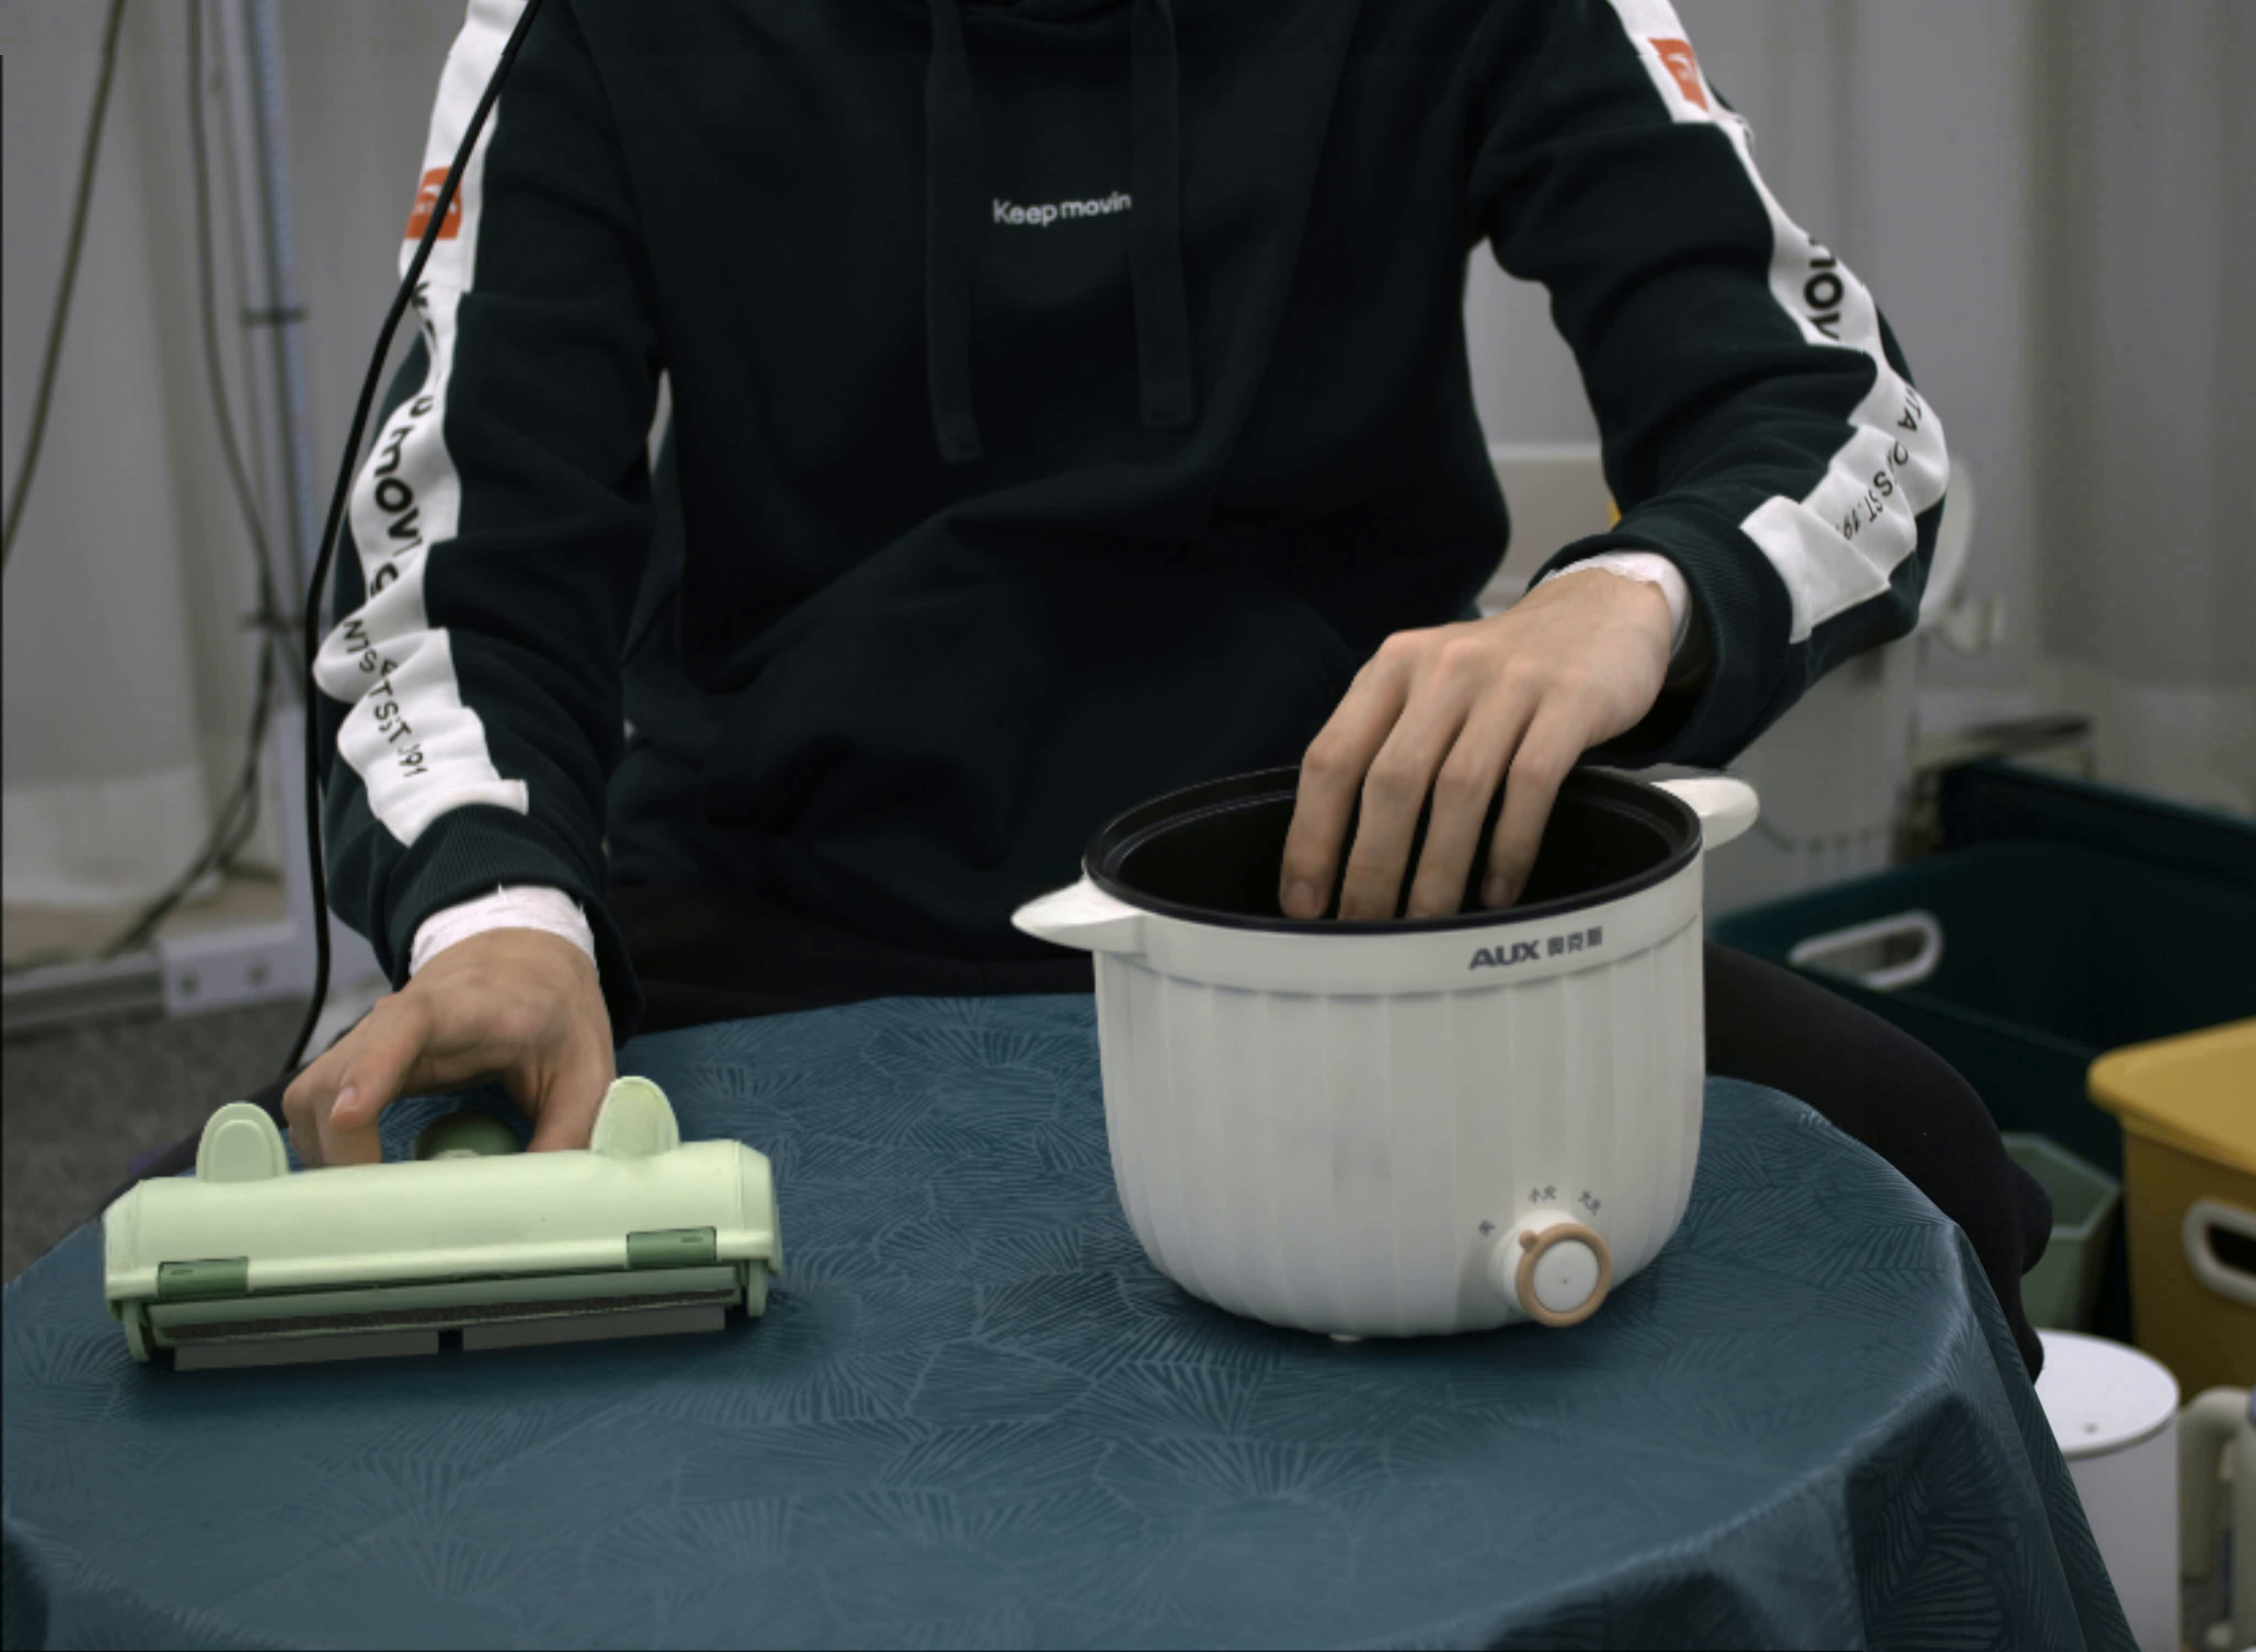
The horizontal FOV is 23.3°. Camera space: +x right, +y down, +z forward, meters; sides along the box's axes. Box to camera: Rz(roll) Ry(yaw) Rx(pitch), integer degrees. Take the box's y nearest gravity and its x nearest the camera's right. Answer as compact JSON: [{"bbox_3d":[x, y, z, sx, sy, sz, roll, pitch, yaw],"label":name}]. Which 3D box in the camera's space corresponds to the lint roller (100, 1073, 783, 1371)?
[{"bbox_3d":[-0.205,0.100,1.664,0.198,0.081,0.185,-4,20,-2],"label":"lint roller"}]

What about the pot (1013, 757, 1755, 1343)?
[{"bbox_3d":[0.084,0.068,1.608,0.239,0.142,0.192,-11,13,-22],"label":"pot"}]
